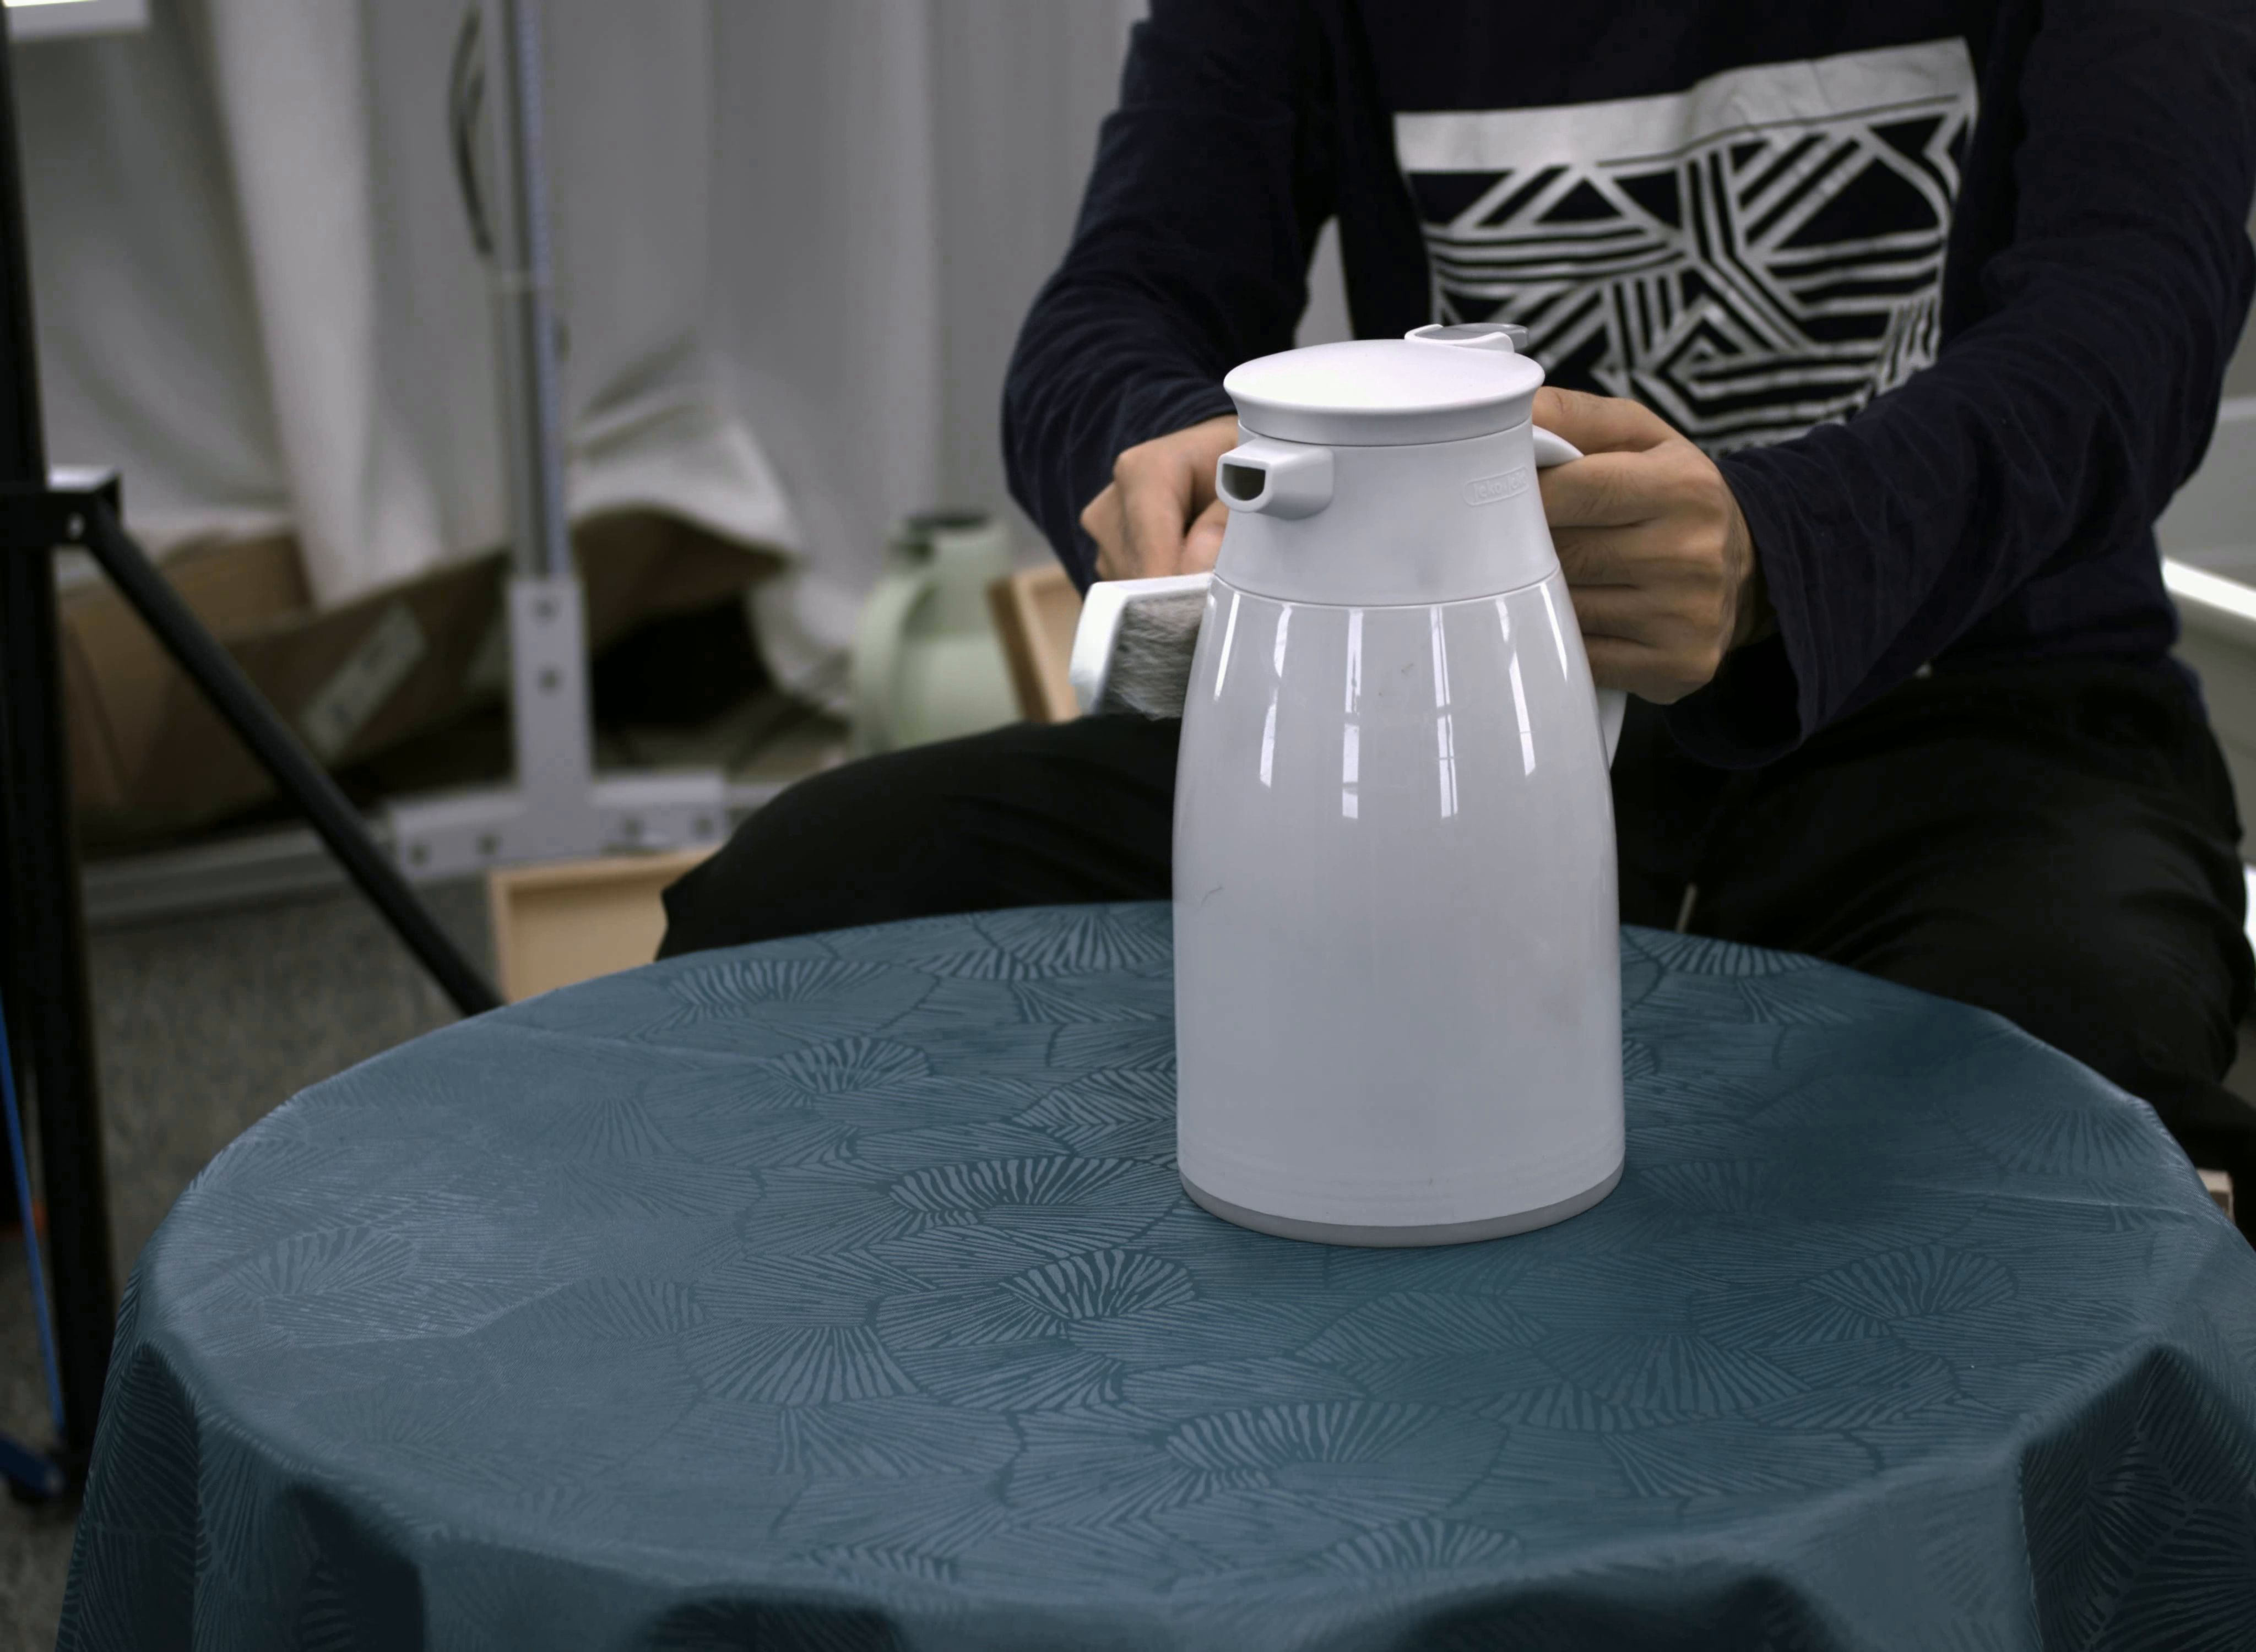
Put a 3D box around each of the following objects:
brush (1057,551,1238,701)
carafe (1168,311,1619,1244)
[{"bbox_3d":[0.028,-0.064,1.655,0.050,0.034,0.241,13,8,11],"label":"brush"},{"bbox_3d":[0.086,-0.022,1.551,0.135,0.248,0.164,10,19,39],"label":"carafe"}]
